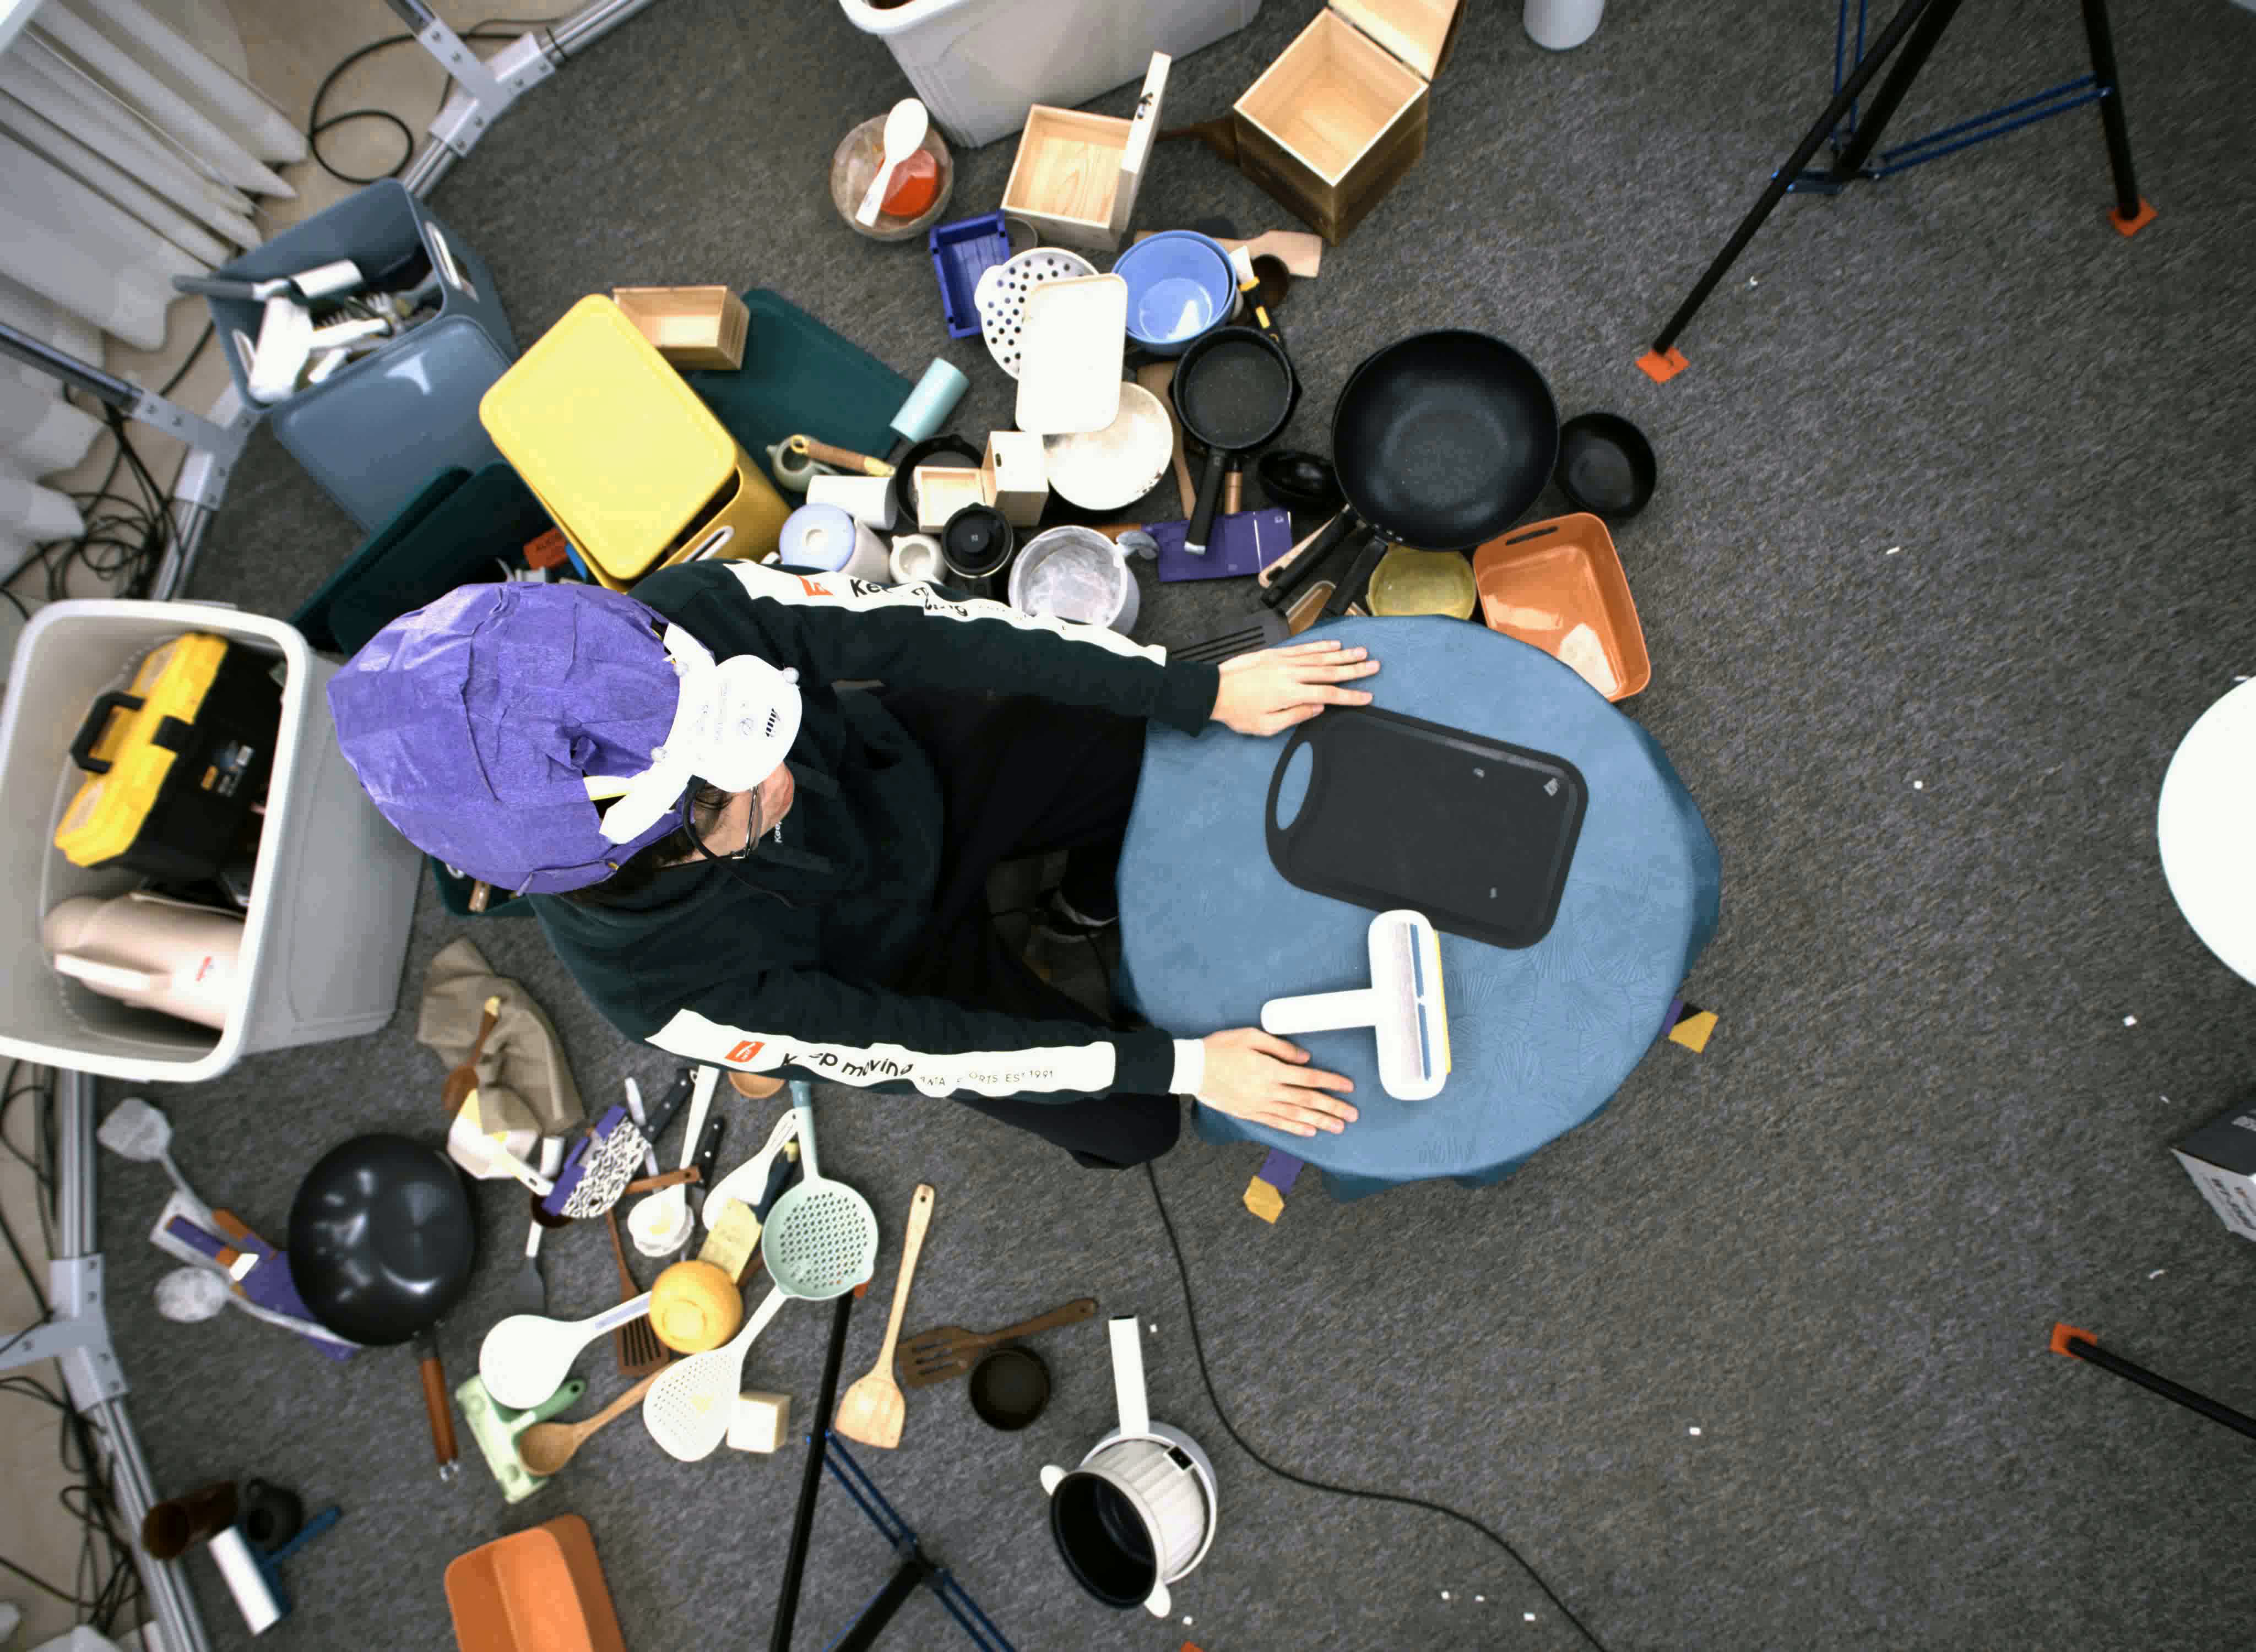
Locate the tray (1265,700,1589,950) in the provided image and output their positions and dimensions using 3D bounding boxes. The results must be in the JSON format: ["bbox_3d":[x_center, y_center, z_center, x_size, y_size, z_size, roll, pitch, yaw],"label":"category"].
[{"bbox_3d":[0.306,-0.007,1.450,0.325,0.010,0.211,17,90,11],"label":"tray"}]

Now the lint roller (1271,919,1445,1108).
[{"bbox_3d":[0.235,0.193,1.440,0.194,0.074,0.191,-2,79,25],"label":"lint roller"}]
